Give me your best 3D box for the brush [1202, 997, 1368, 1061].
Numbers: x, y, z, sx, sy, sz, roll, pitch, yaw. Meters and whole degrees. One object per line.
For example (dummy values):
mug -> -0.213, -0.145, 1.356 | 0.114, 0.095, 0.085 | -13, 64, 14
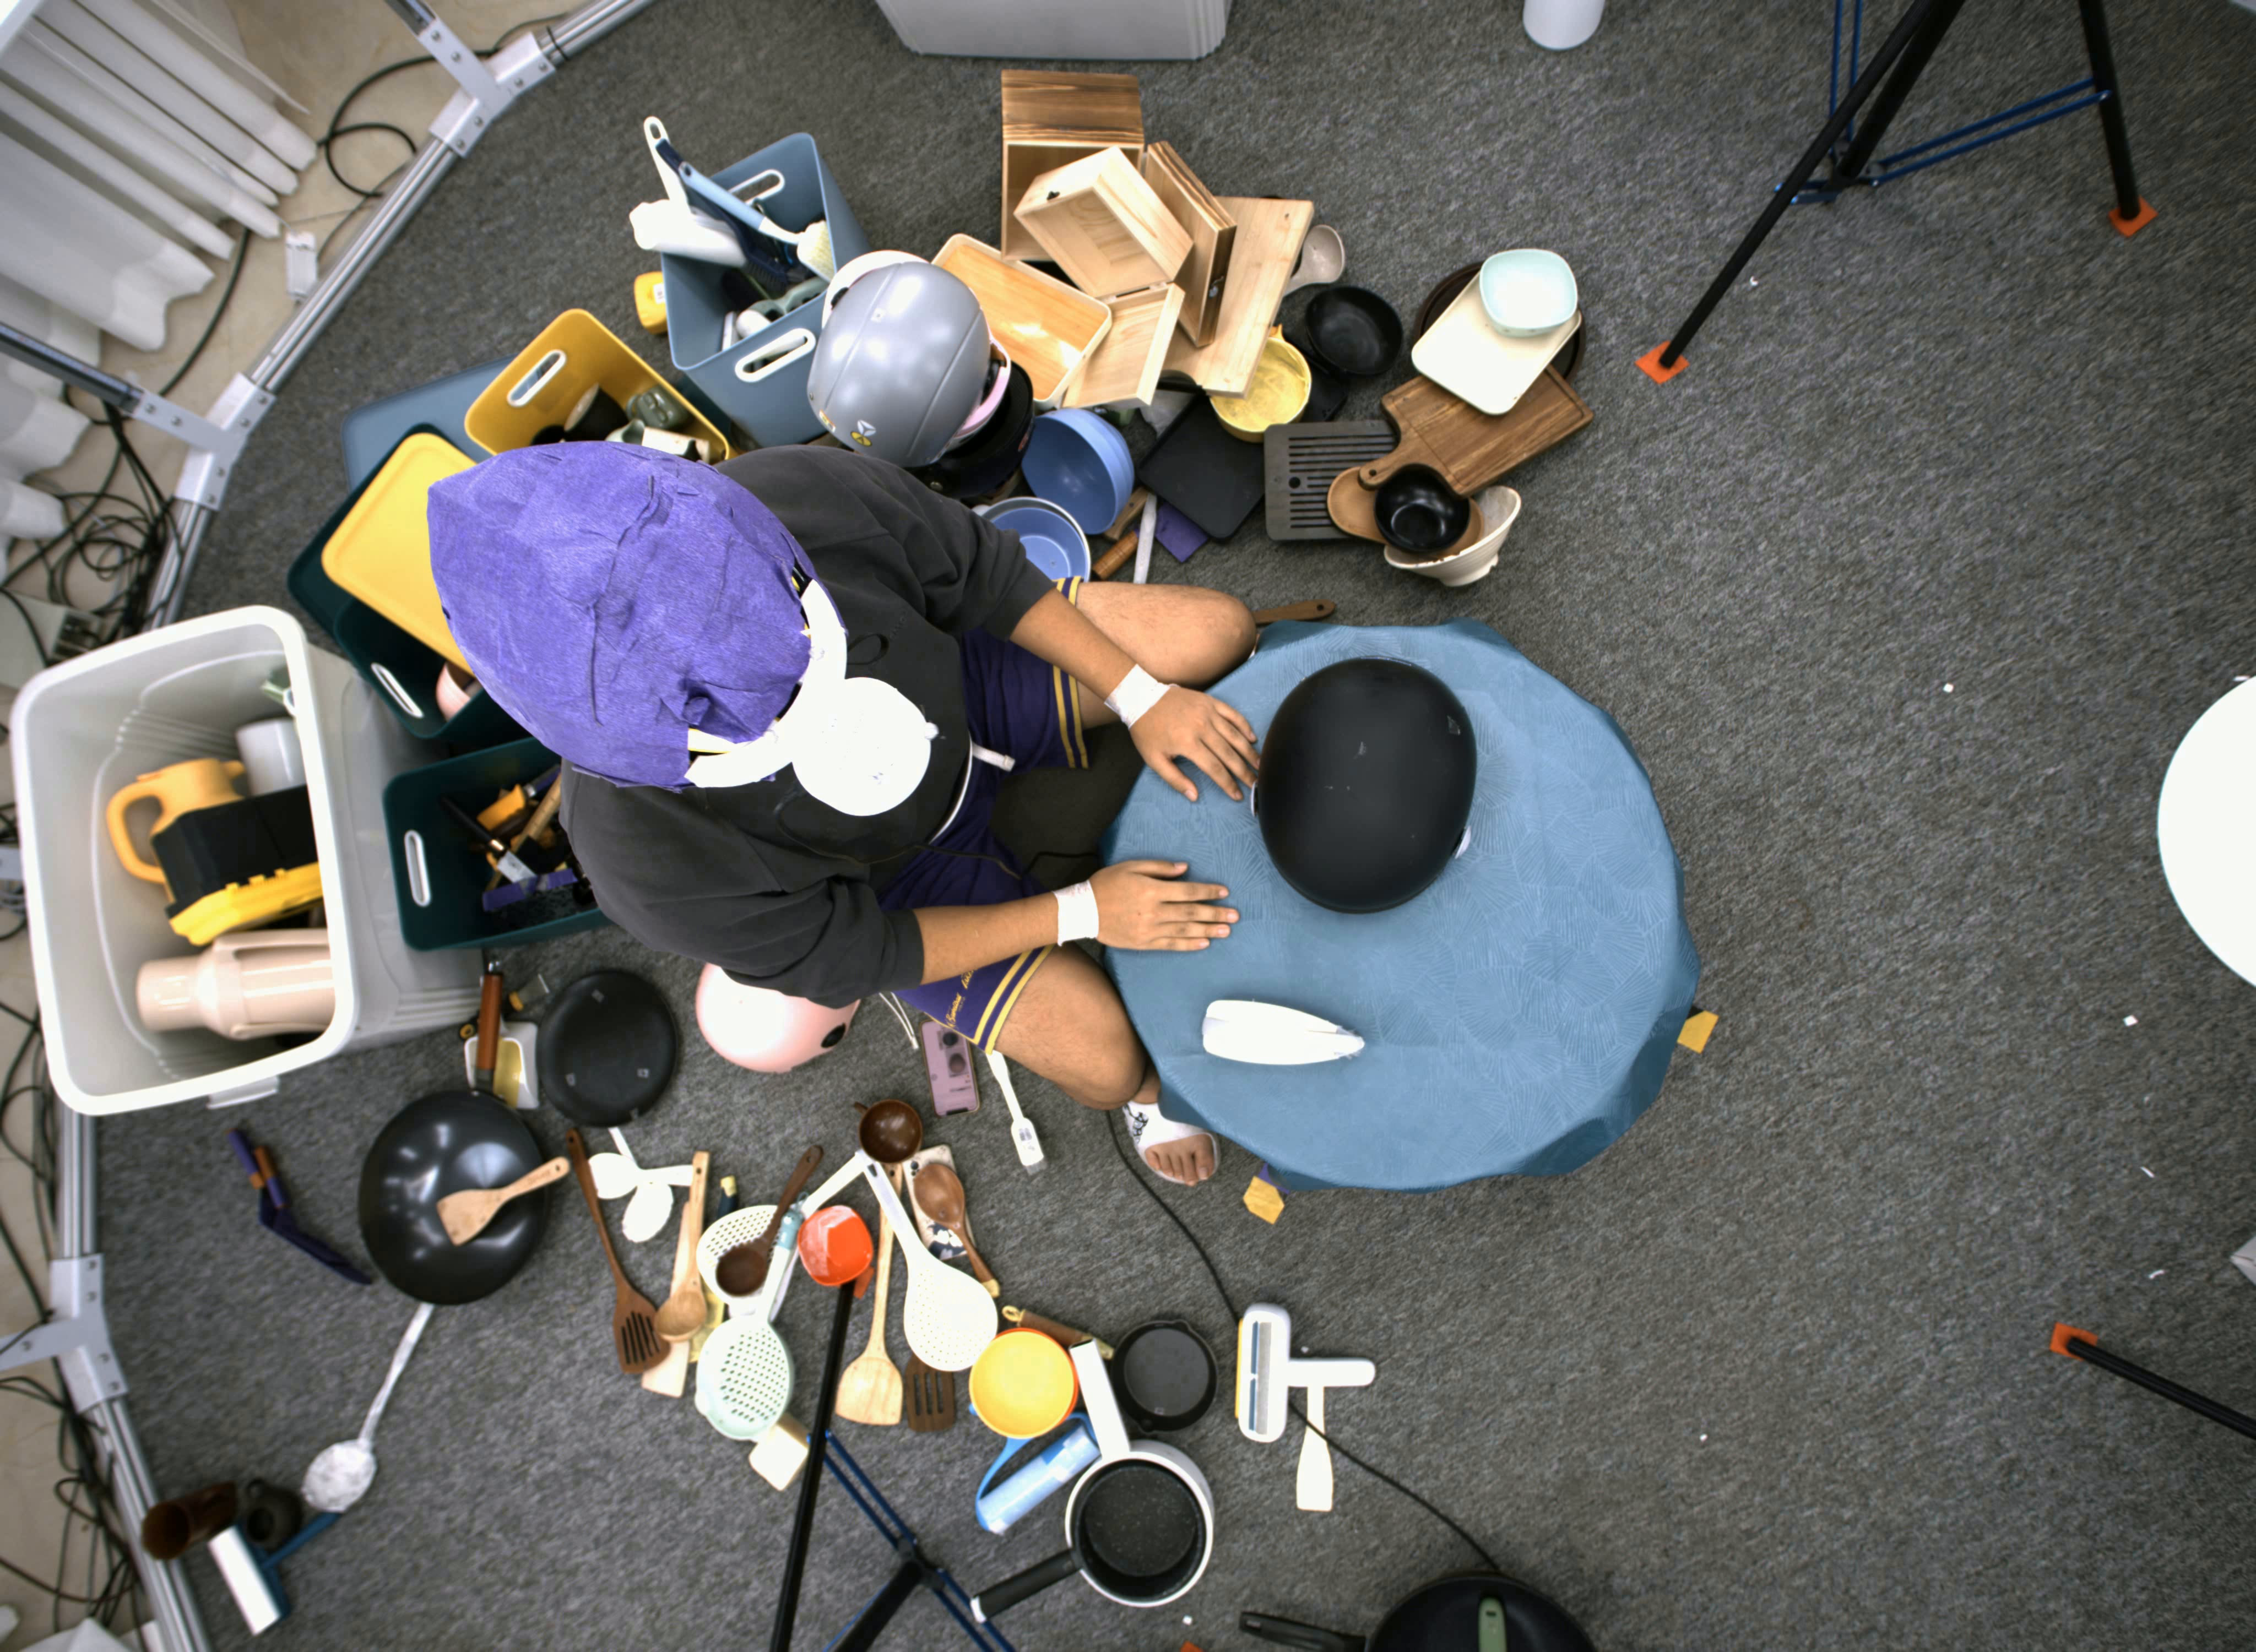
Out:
brush -> 0.160, 0.213, 1.426 | 0.176, 0.094, 0.061 | 6, 87, 9

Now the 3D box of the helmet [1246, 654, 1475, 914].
helmet -> 0.236, -0.049, 1.391 | 0.230, 0.166, 0.273 | 14, 91, 11
